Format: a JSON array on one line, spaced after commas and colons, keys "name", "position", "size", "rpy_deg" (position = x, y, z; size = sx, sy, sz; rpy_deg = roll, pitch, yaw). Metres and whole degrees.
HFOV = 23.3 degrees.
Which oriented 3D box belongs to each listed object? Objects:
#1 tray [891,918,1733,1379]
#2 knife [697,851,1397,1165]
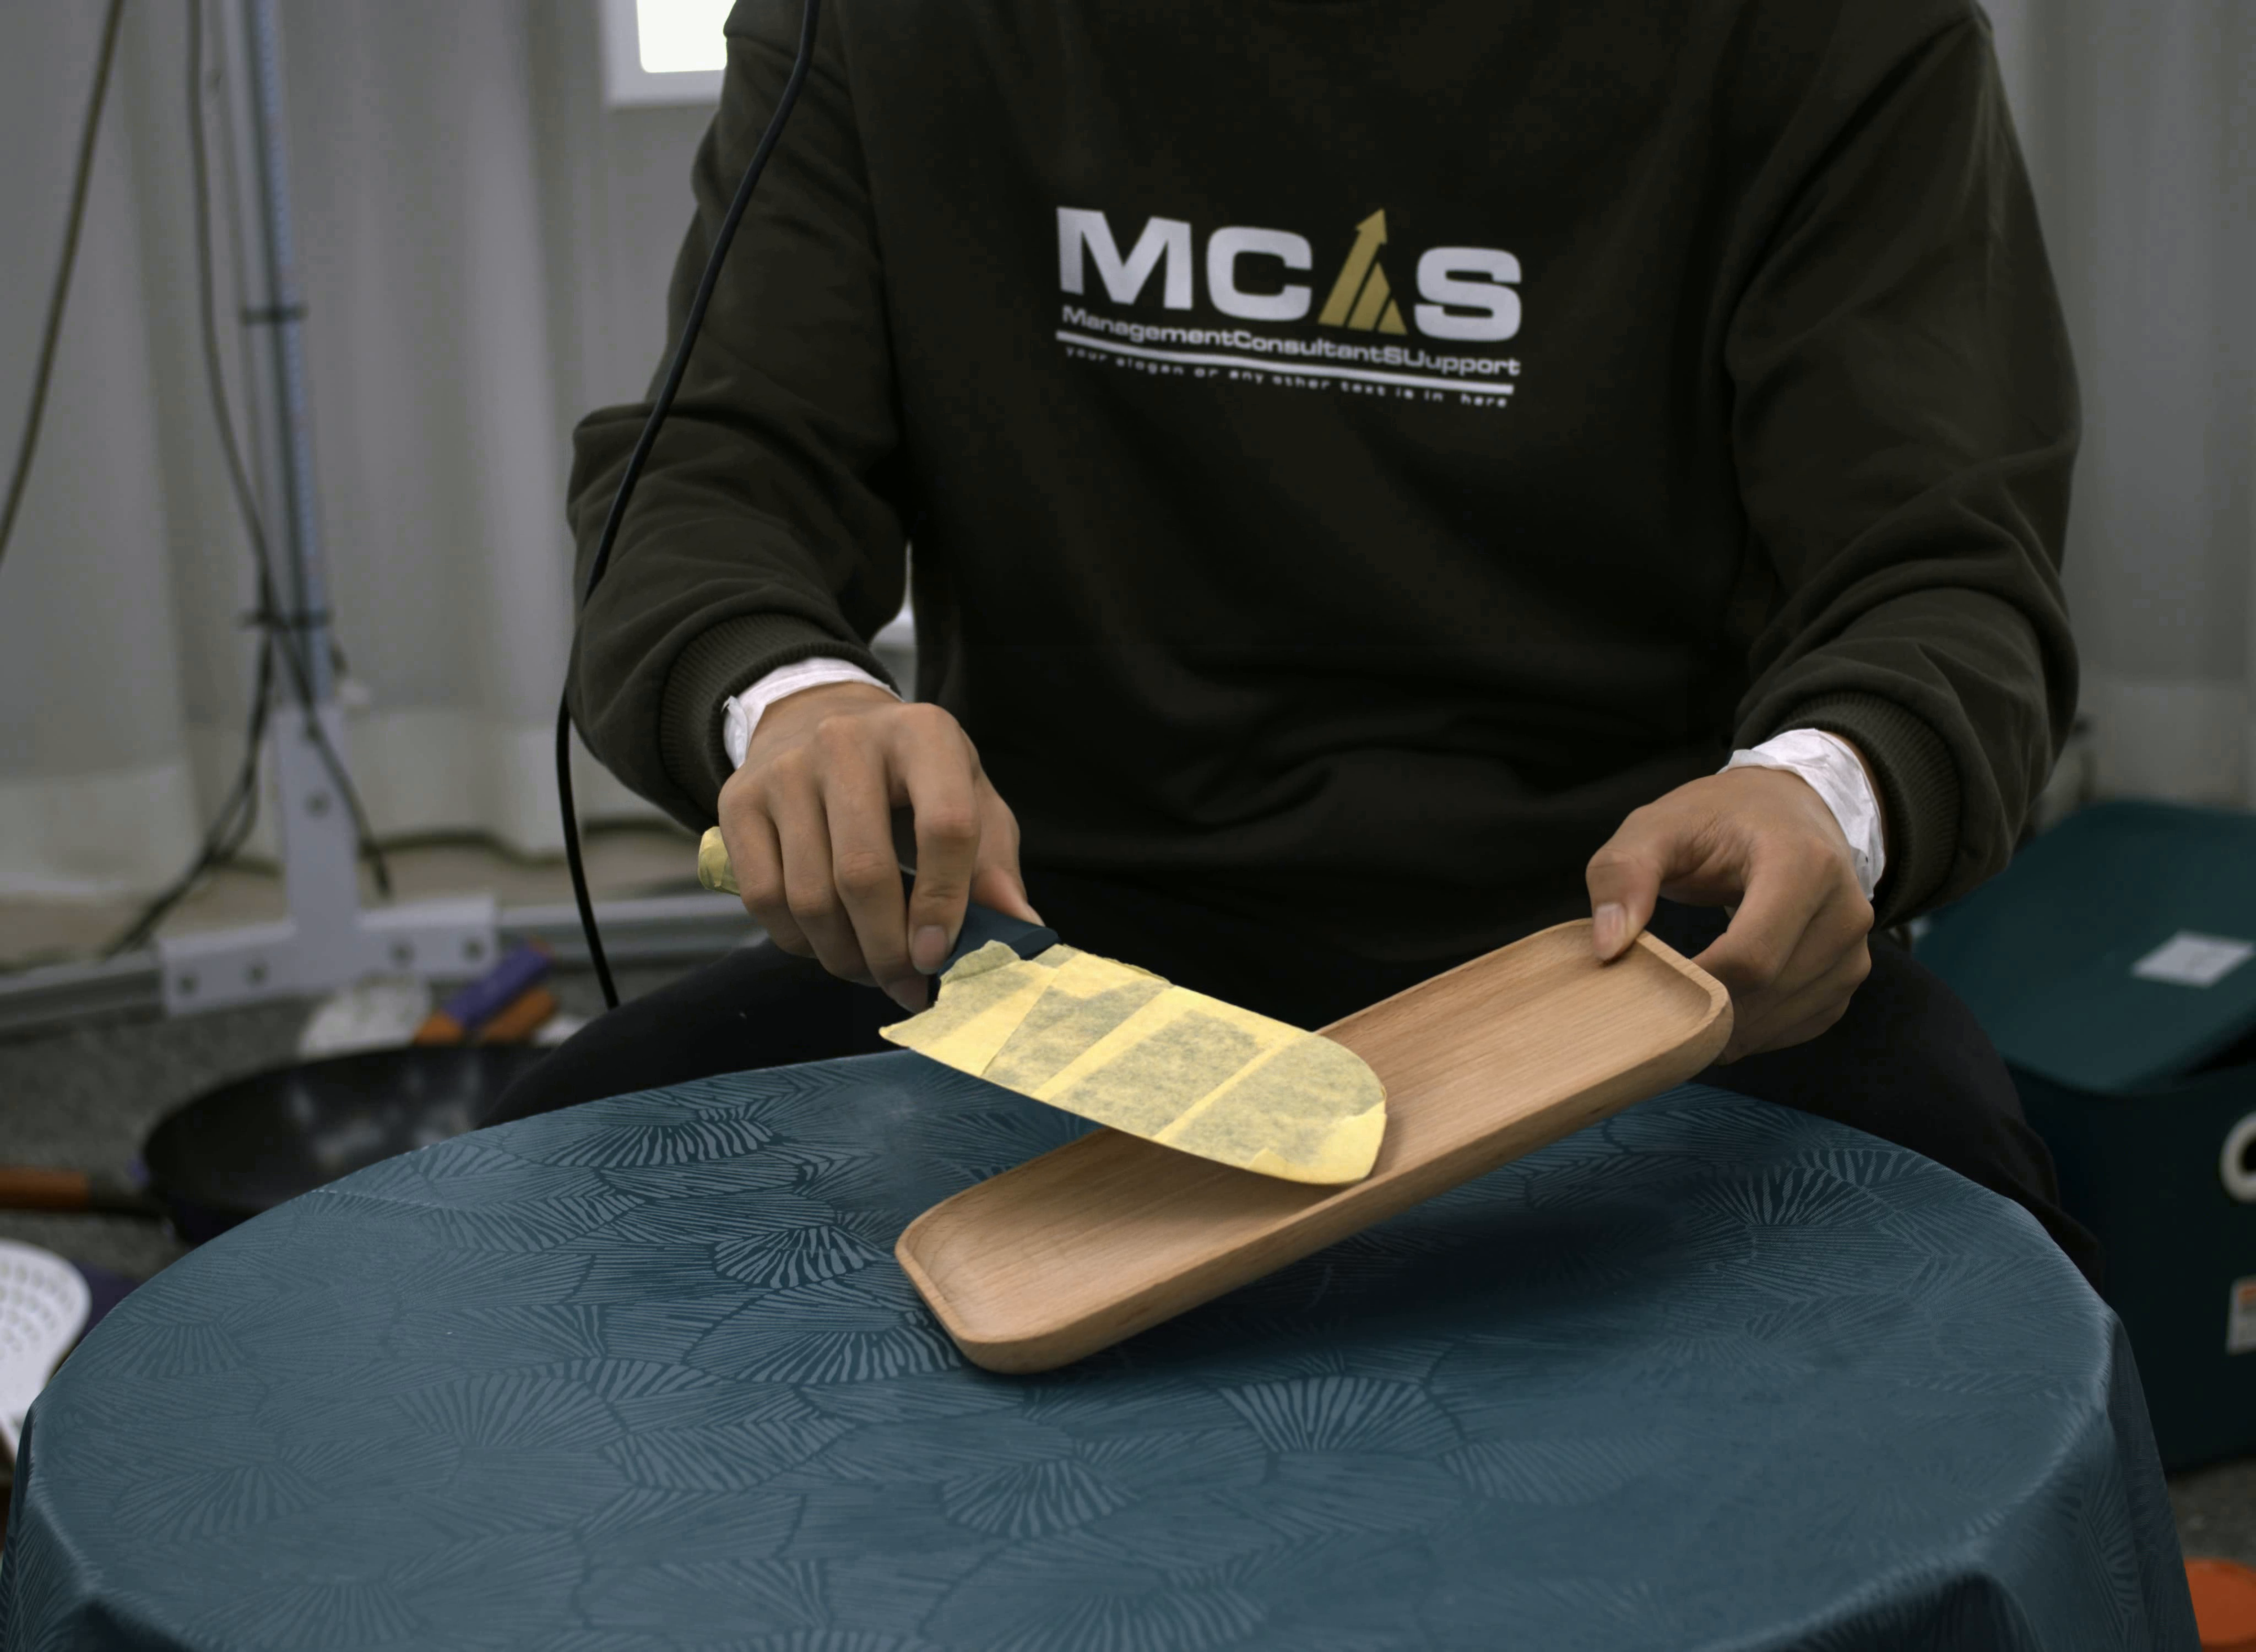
[{"name": "tray", "position": [0.054, 0.094, 1.618], "size": [0.250, 0.023, 0.131], "rpy_deg": [-24, 17, -10]}, {"name": "knife", "position": [-0.034, 0.056, 1.667], "size": [0.291, 0.027, 0.081], "rpy_deg": [19, 35, 38]}]
